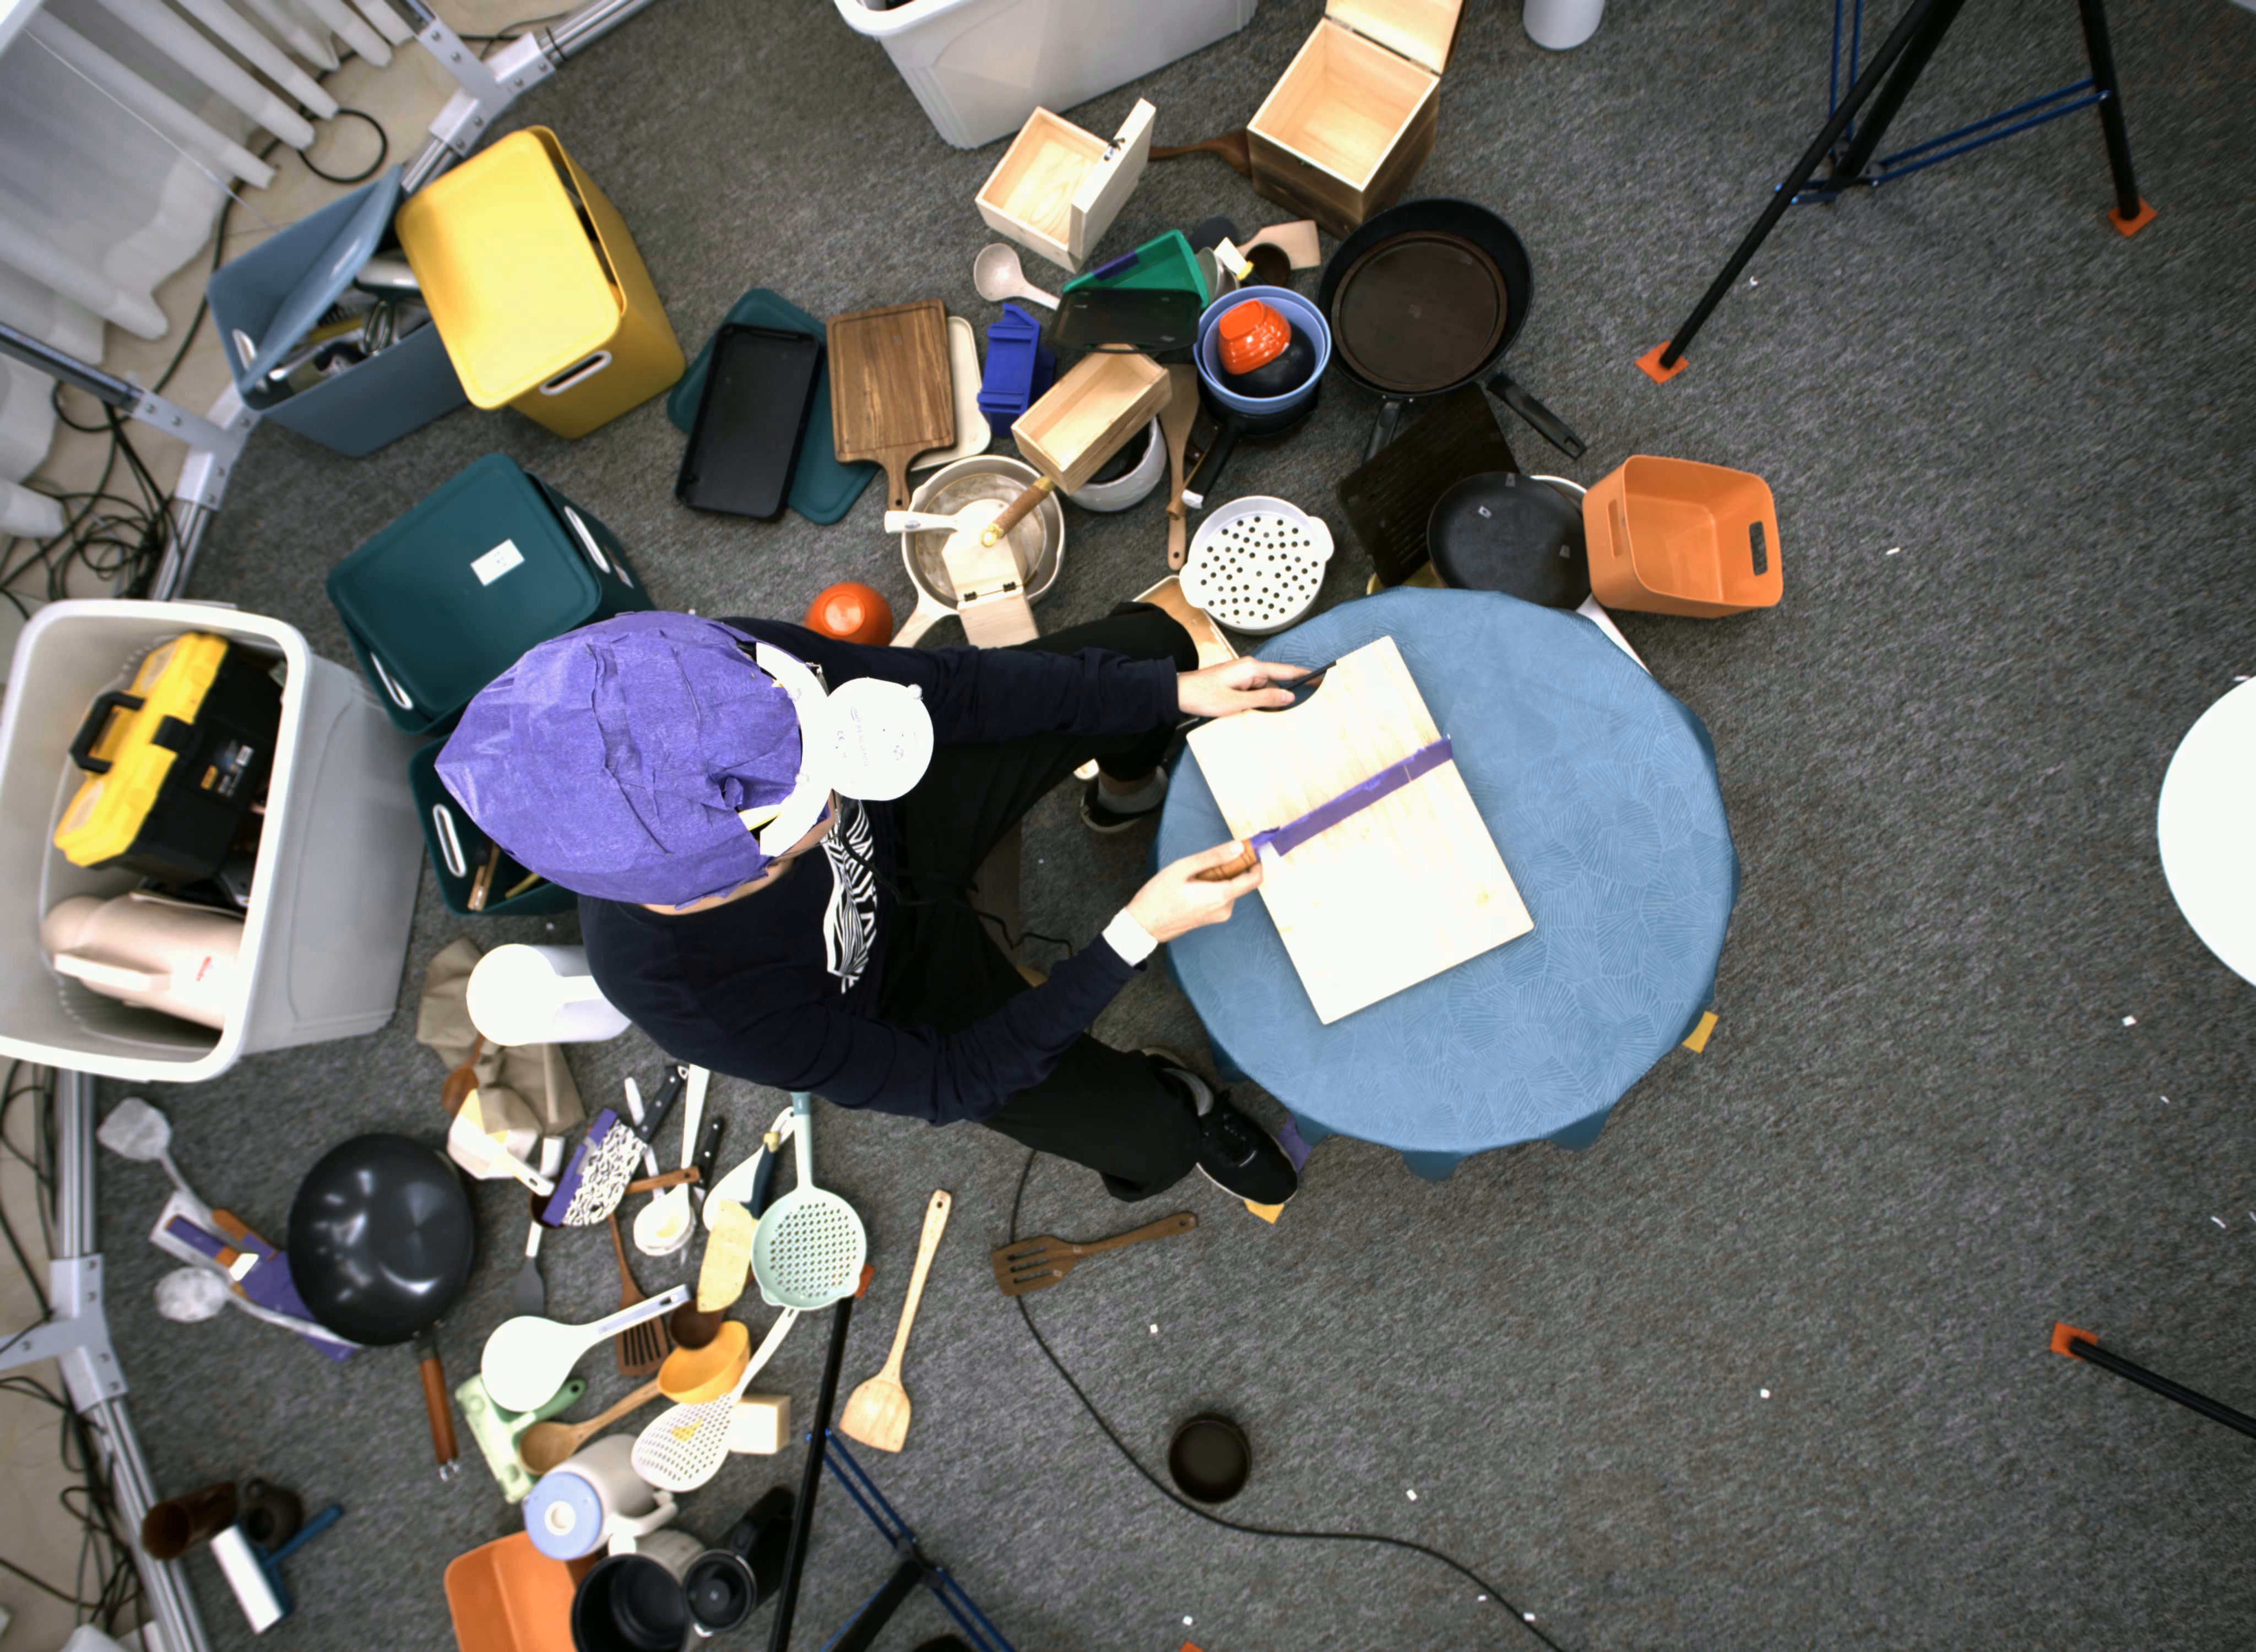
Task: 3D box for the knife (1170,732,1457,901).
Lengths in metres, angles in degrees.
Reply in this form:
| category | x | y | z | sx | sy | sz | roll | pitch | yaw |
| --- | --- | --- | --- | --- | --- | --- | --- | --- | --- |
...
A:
| category | x | y | z | sx | sy | sz | roll | pitch | yaw |
| --- | --- | --- | --- | --- | --- | --- | --- | --- | --- |
| knife | 0.192 | -0.004 | 1.398 | 0.317 | 0.104 | 0.032 | -28 | 71 | 10 |

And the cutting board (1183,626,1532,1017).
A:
| category | x | y | z | sx | sy | sz | roll | pitch | yaw |
| --- | --- | --- | --- | --- | --- | --- | --- | --- | --- |
| cutting board | 0.239 | -0.003 | 1.449 | 0.252 | 0.023 | 0.347 | -26 | 87 | 8 |
